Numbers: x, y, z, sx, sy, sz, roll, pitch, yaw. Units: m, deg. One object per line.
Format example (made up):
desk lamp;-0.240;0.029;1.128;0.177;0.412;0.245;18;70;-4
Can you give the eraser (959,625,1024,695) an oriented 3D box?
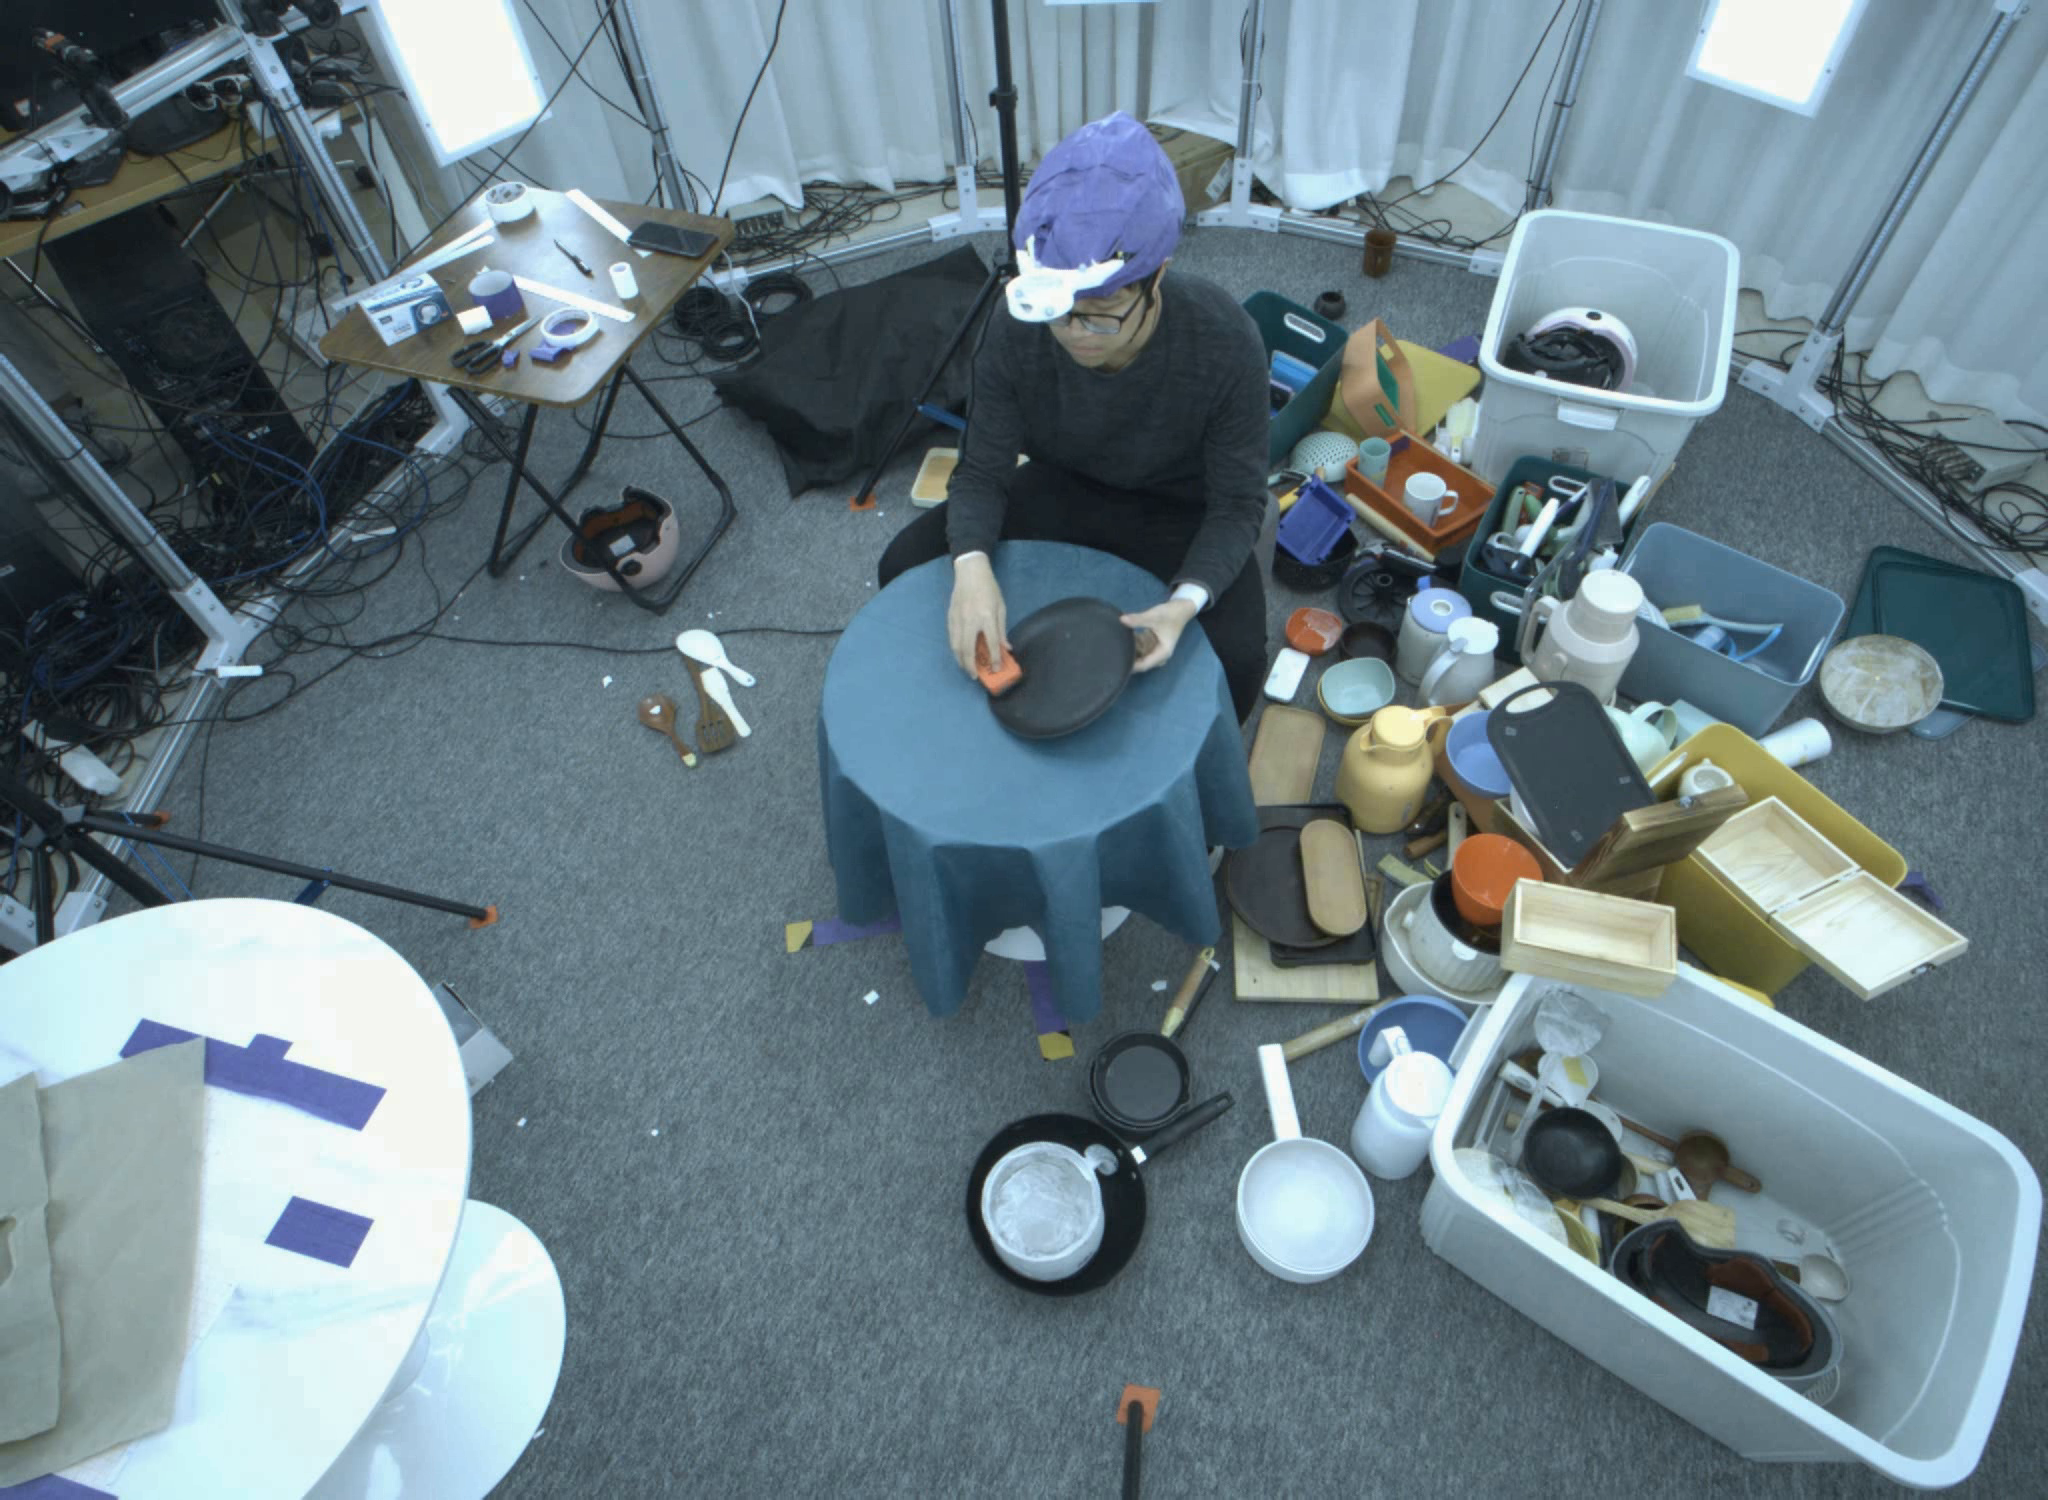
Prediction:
eraser;-0.050;-0.137;1.853;0.059;0.023;0.106;-34;61;-5

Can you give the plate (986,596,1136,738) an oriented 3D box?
plate;0.056;-0.120;1.814;0.241;0.024;0.242;-12;58;22
